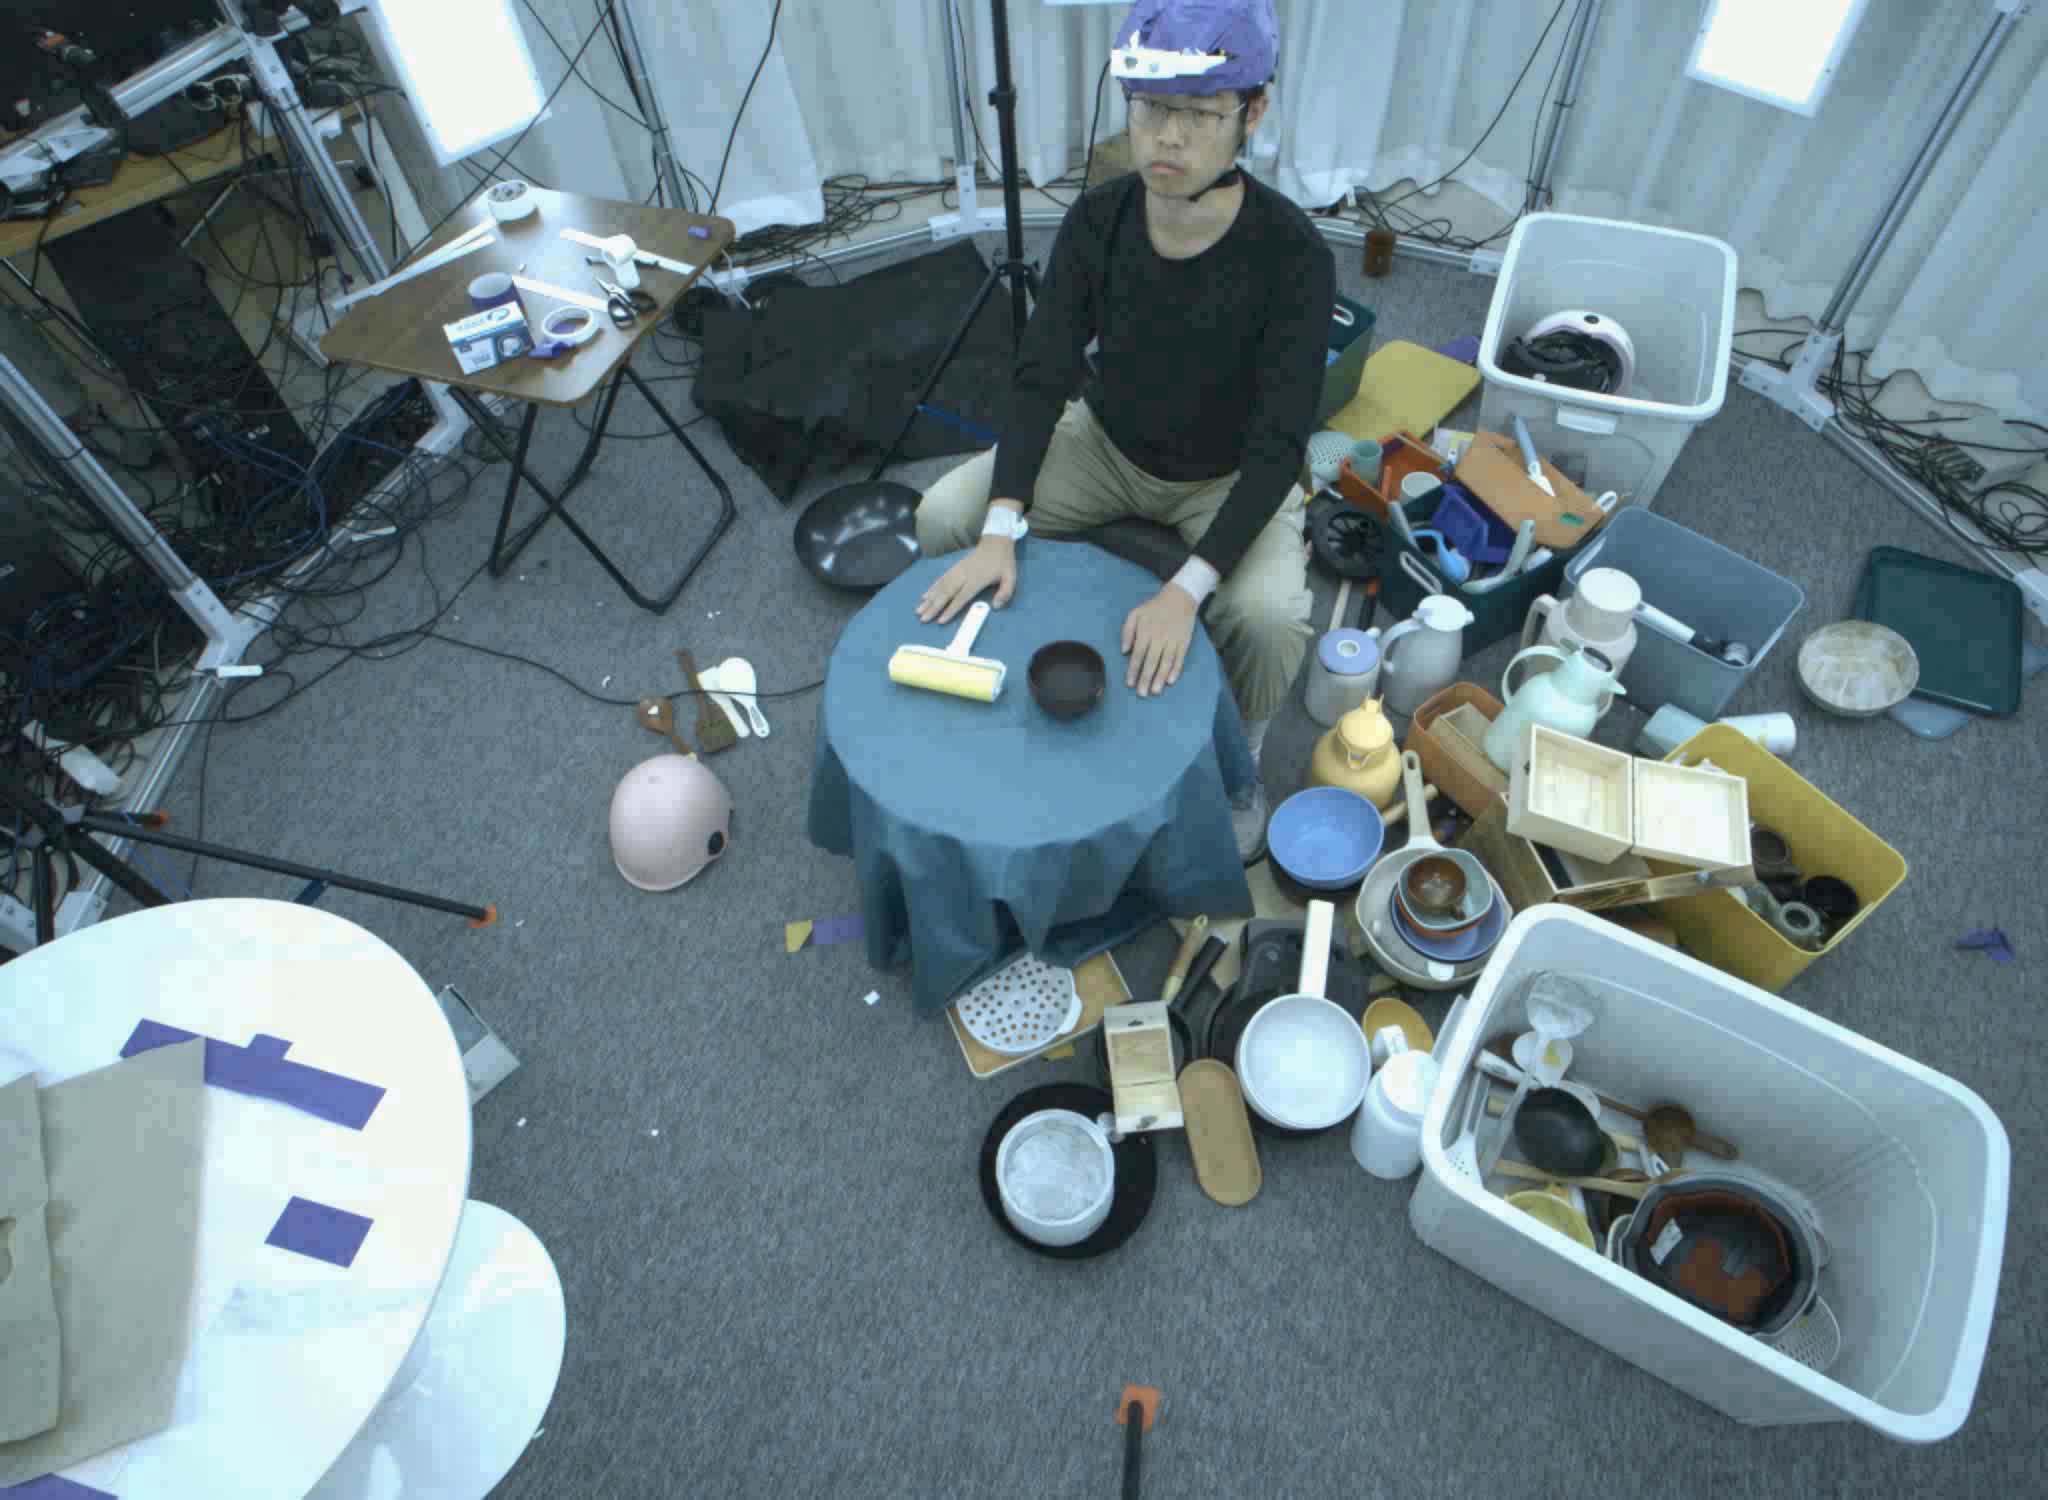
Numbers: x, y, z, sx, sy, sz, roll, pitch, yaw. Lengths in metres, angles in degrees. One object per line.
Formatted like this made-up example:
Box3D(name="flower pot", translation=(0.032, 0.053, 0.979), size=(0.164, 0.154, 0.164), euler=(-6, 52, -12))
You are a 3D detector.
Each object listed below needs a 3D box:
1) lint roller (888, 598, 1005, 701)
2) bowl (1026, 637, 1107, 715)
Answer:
Box3D(name="lint roller", translation=(-0.101, -0.169, 1.878), size=(0.173, 0.052, 0.191), euler=(11, 60, 10))
Box3D(name="bowl", translation=(0.063, -0.101, 1.811), size=(0.118, 0.070, 0.117), euler=(-1, 56, 2))
